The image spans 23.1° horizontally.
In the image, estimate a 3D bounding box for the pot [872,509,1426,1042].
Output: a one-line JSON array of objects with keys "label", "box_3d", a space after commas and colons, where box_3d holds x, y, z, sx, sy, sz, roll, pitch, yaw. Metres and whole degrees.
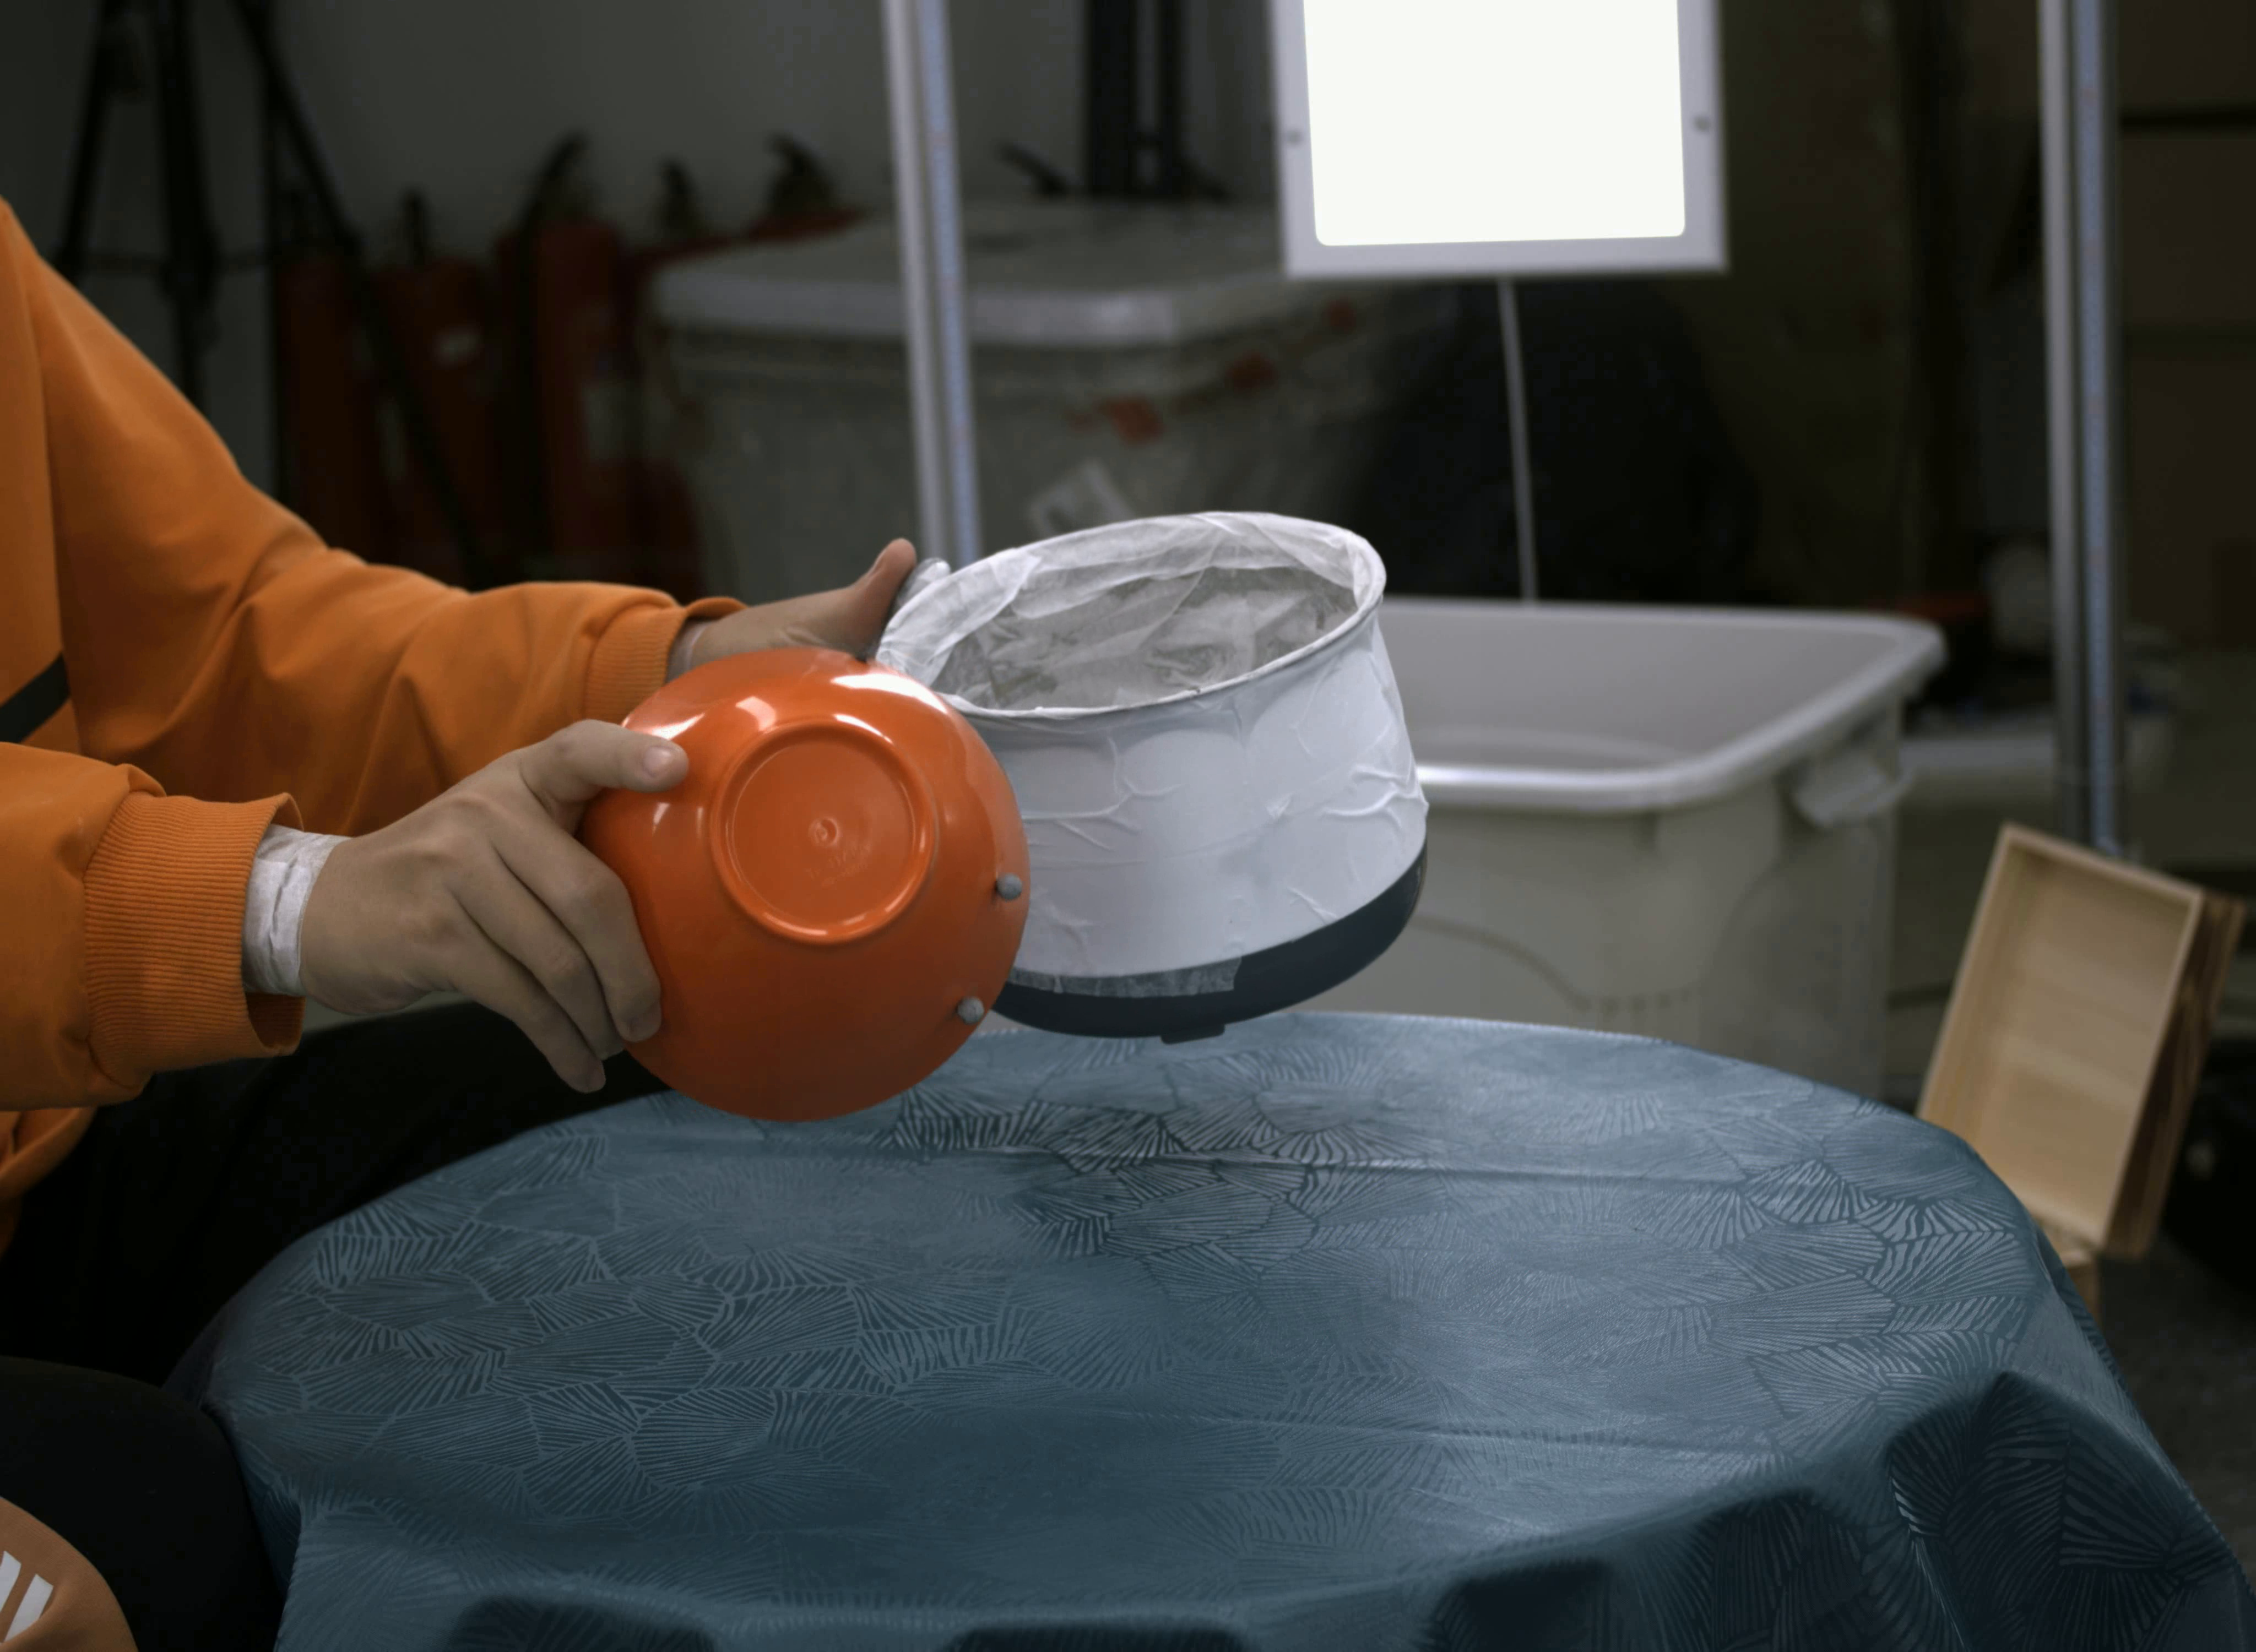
[{"label": "pot", "box_3d": [-0.009, -0.021, 1.913, 0.238, 0.137, 0.174, 12, 32, 44]}]

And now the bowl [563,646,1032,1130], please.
[{"label": "bowl", "box_3d": [-0.093, 0.010, 1.659, 0.146, 0.148, 0.105, -7, -10, -11]}]
